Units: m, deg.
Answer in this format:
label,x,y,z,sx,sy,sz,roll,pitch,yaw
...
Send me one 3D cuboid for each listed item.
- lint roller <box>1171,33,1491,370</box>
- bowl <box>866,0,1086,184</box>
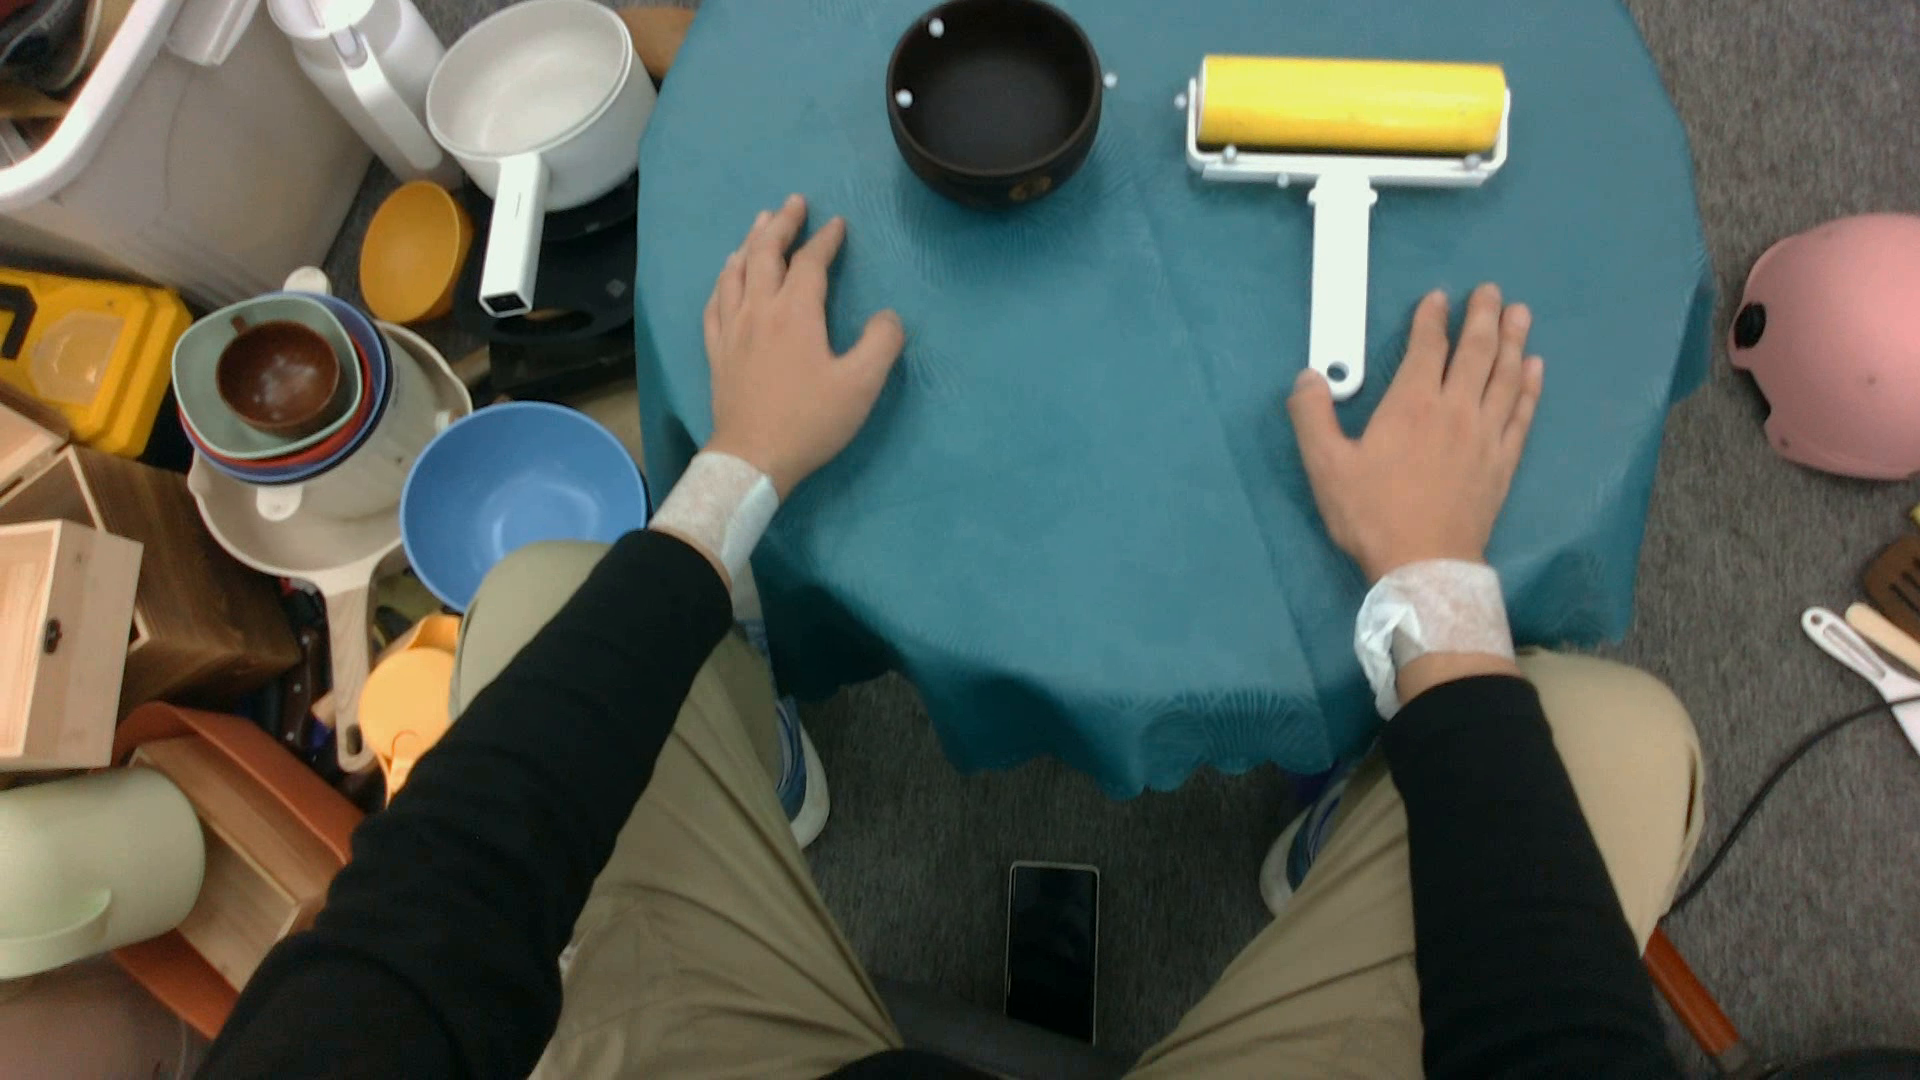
label,x,y,z,sx,sy,sz,roll,pitch,yaw
lint roller,0.203,-0.189,0.748,0.174,0.051,0.192,1,71,3
bowl,0.010,-0.249,0.759,0.118,0.069,0.118,-1,75,3
